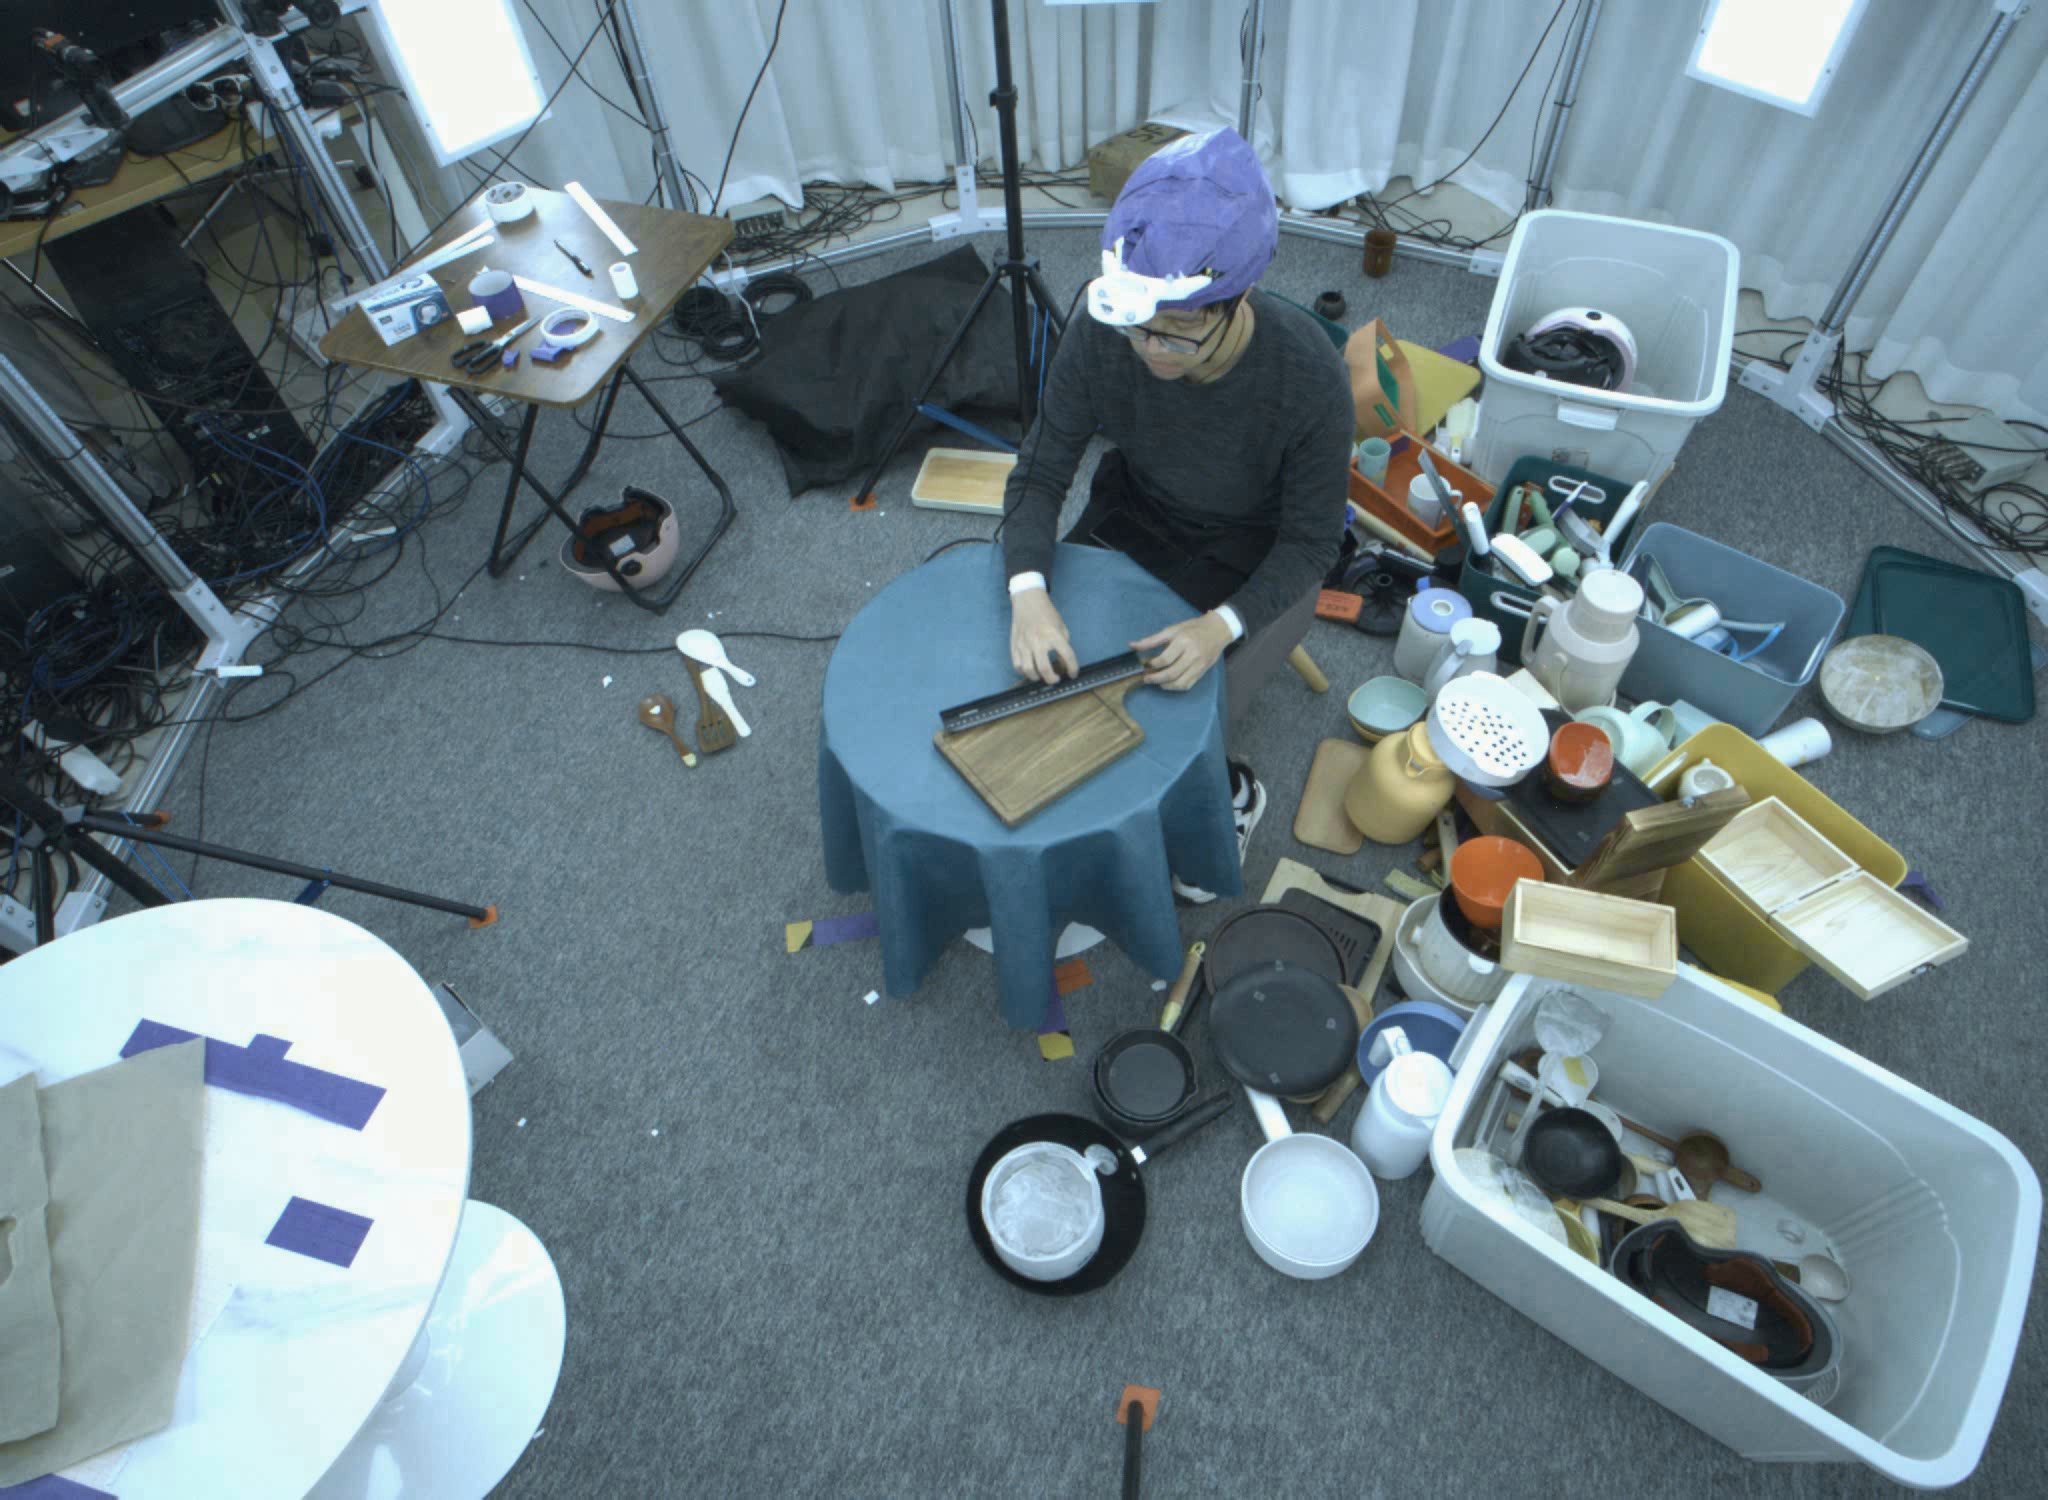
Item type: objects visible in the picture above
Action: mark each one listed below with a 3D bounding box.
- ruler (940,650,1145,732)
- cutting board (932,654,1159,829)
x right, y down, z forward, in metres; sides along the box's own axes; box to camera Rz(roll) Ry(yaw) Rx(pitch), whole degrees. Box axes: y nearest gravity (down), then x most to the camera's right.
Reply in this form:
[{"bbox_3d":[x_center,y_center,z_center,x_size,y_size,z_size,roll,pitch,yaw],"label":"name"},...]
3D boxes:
[{"bbox_3d":[0.028,-0.089,1.806,0.315,0.017,0.038,-18,62,-11],"label":"ruler"},{"bbox_3d":[0.061,-0.043,1.803,0.355,0.023,0.197,-33,60,-20],"label":"cutting board"}]
